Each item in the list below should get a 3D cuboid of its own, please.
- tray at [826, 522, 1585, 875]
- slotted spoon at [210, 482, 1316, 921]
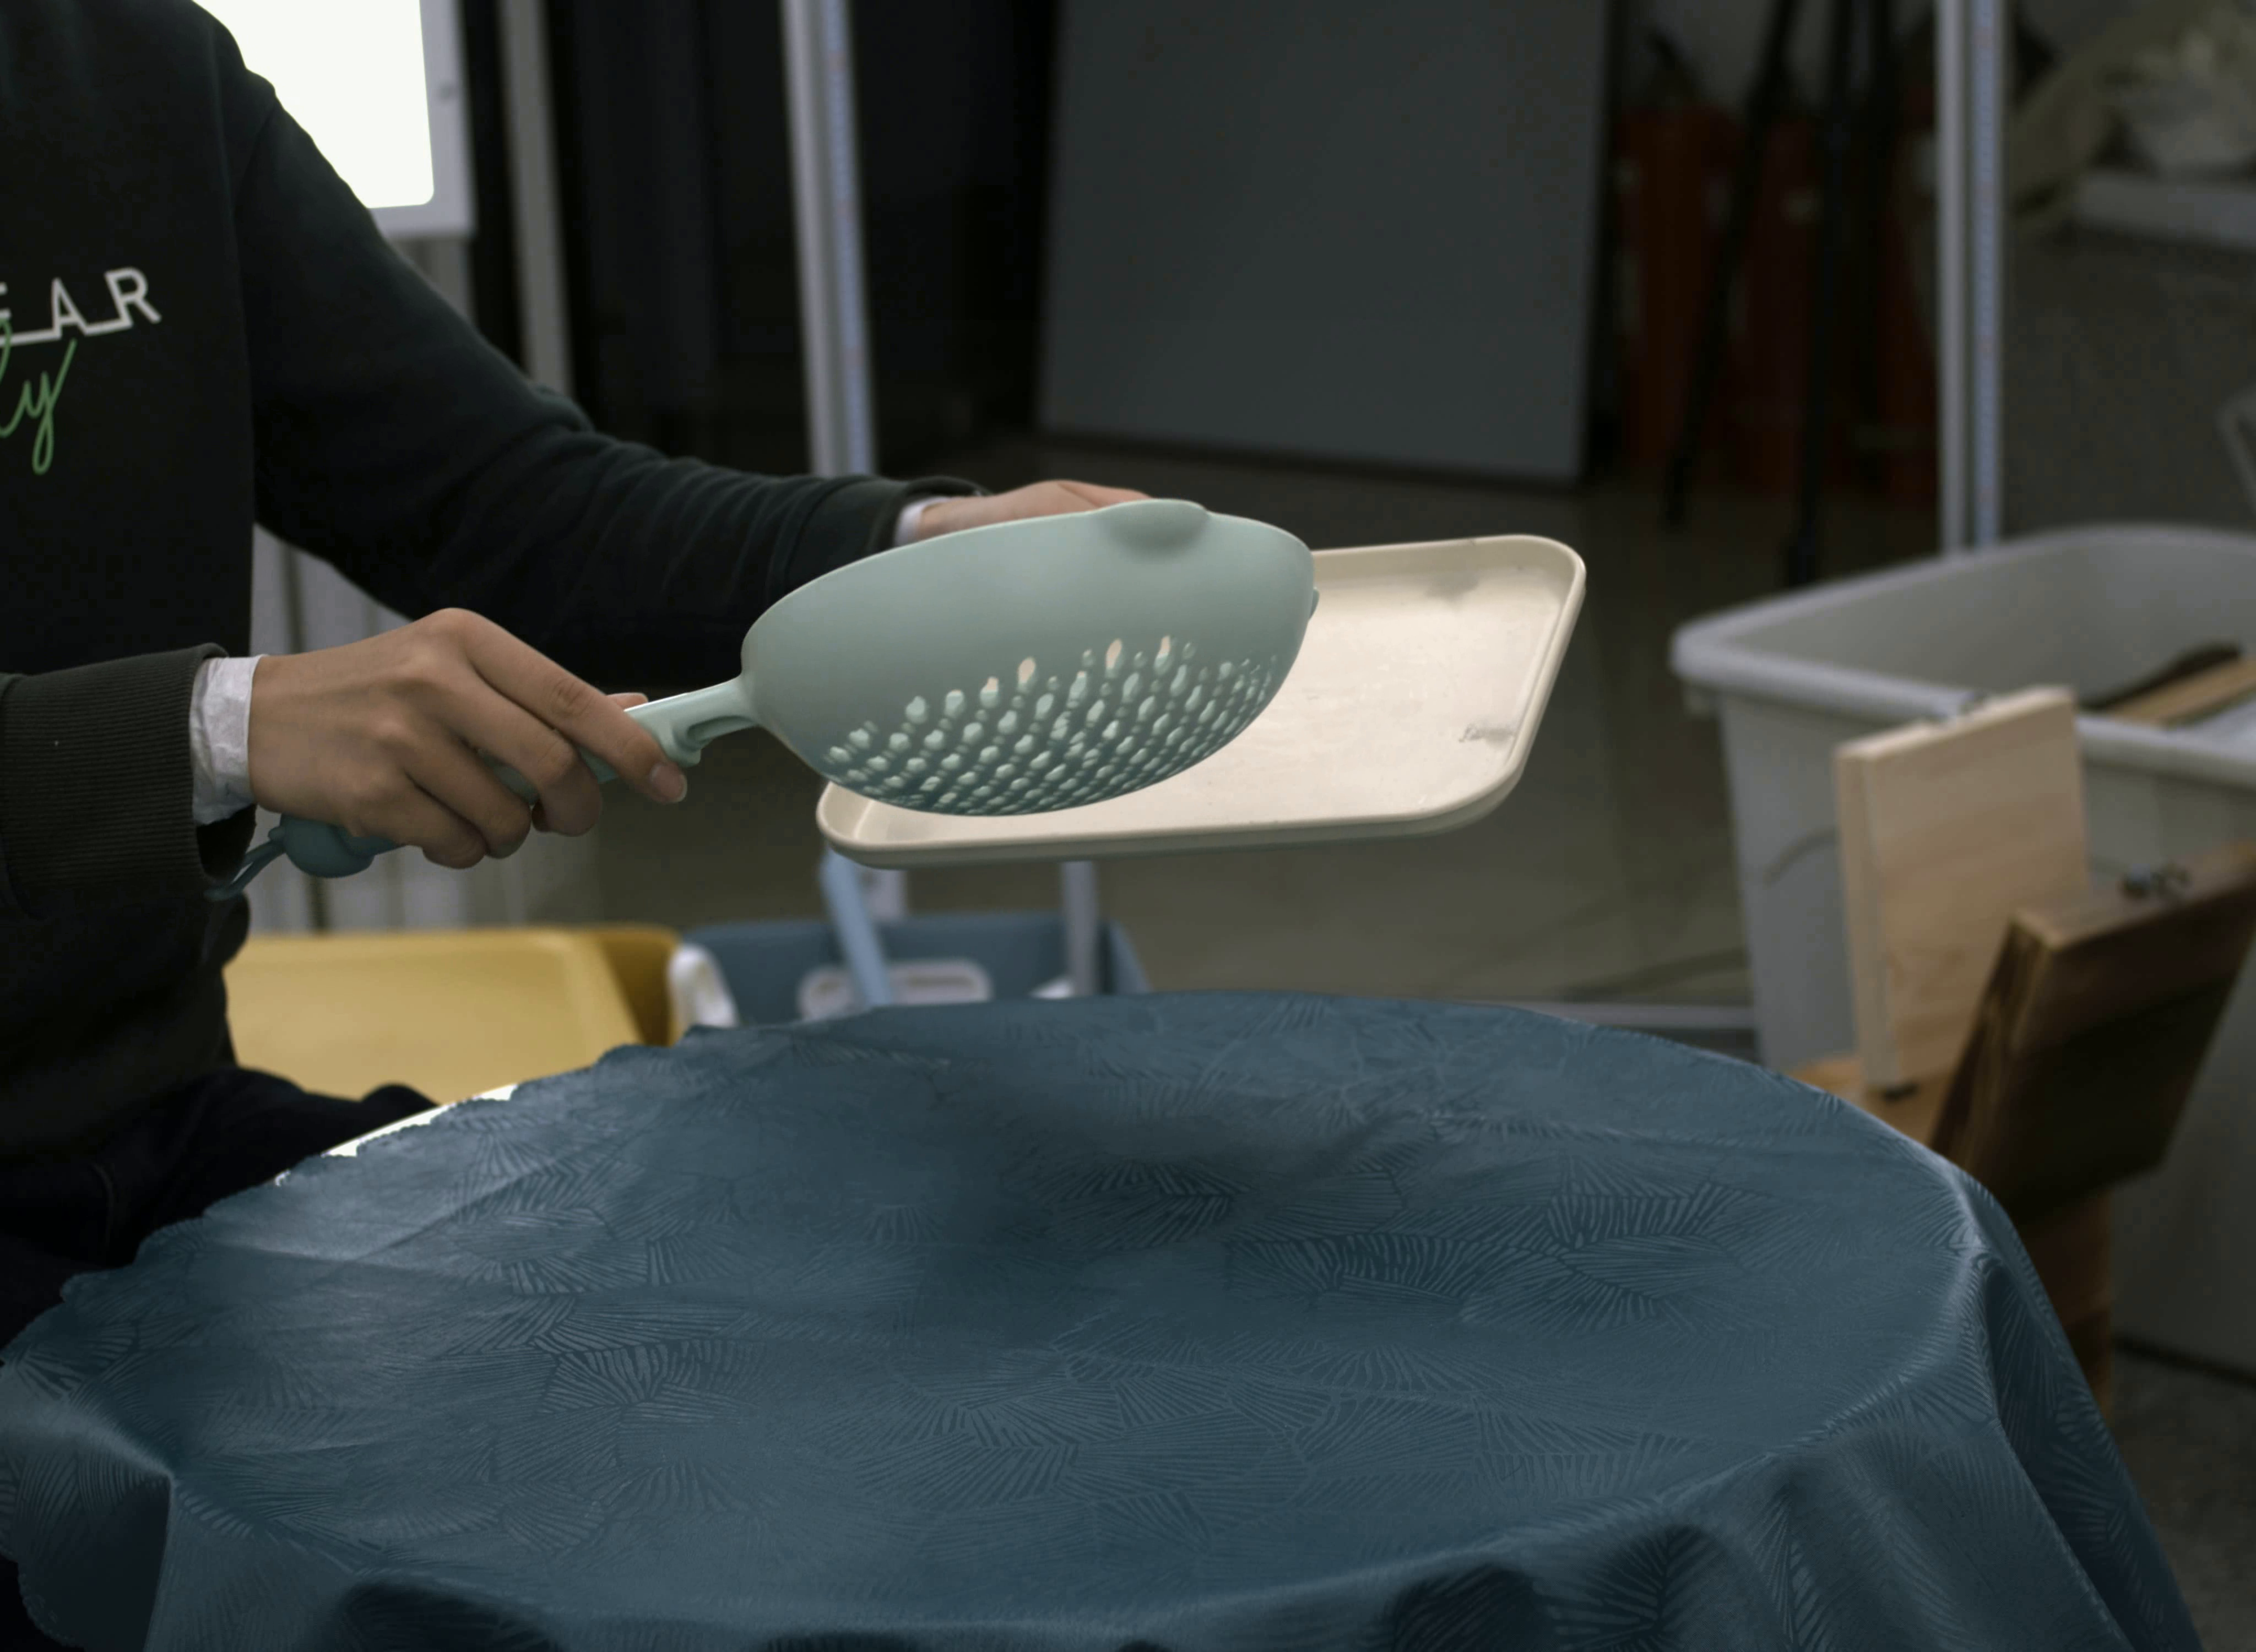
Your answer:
[{"bbox_3d":[0.027,-0.040,1.758,0.239,0.017,0.171,-5,32,21],"label":"tray"},{"bbox_3d":[-0.116,-0.030,1.599,0.358,0.076,0.167,-7,-15,21],"label":"slotted spoon"}]
